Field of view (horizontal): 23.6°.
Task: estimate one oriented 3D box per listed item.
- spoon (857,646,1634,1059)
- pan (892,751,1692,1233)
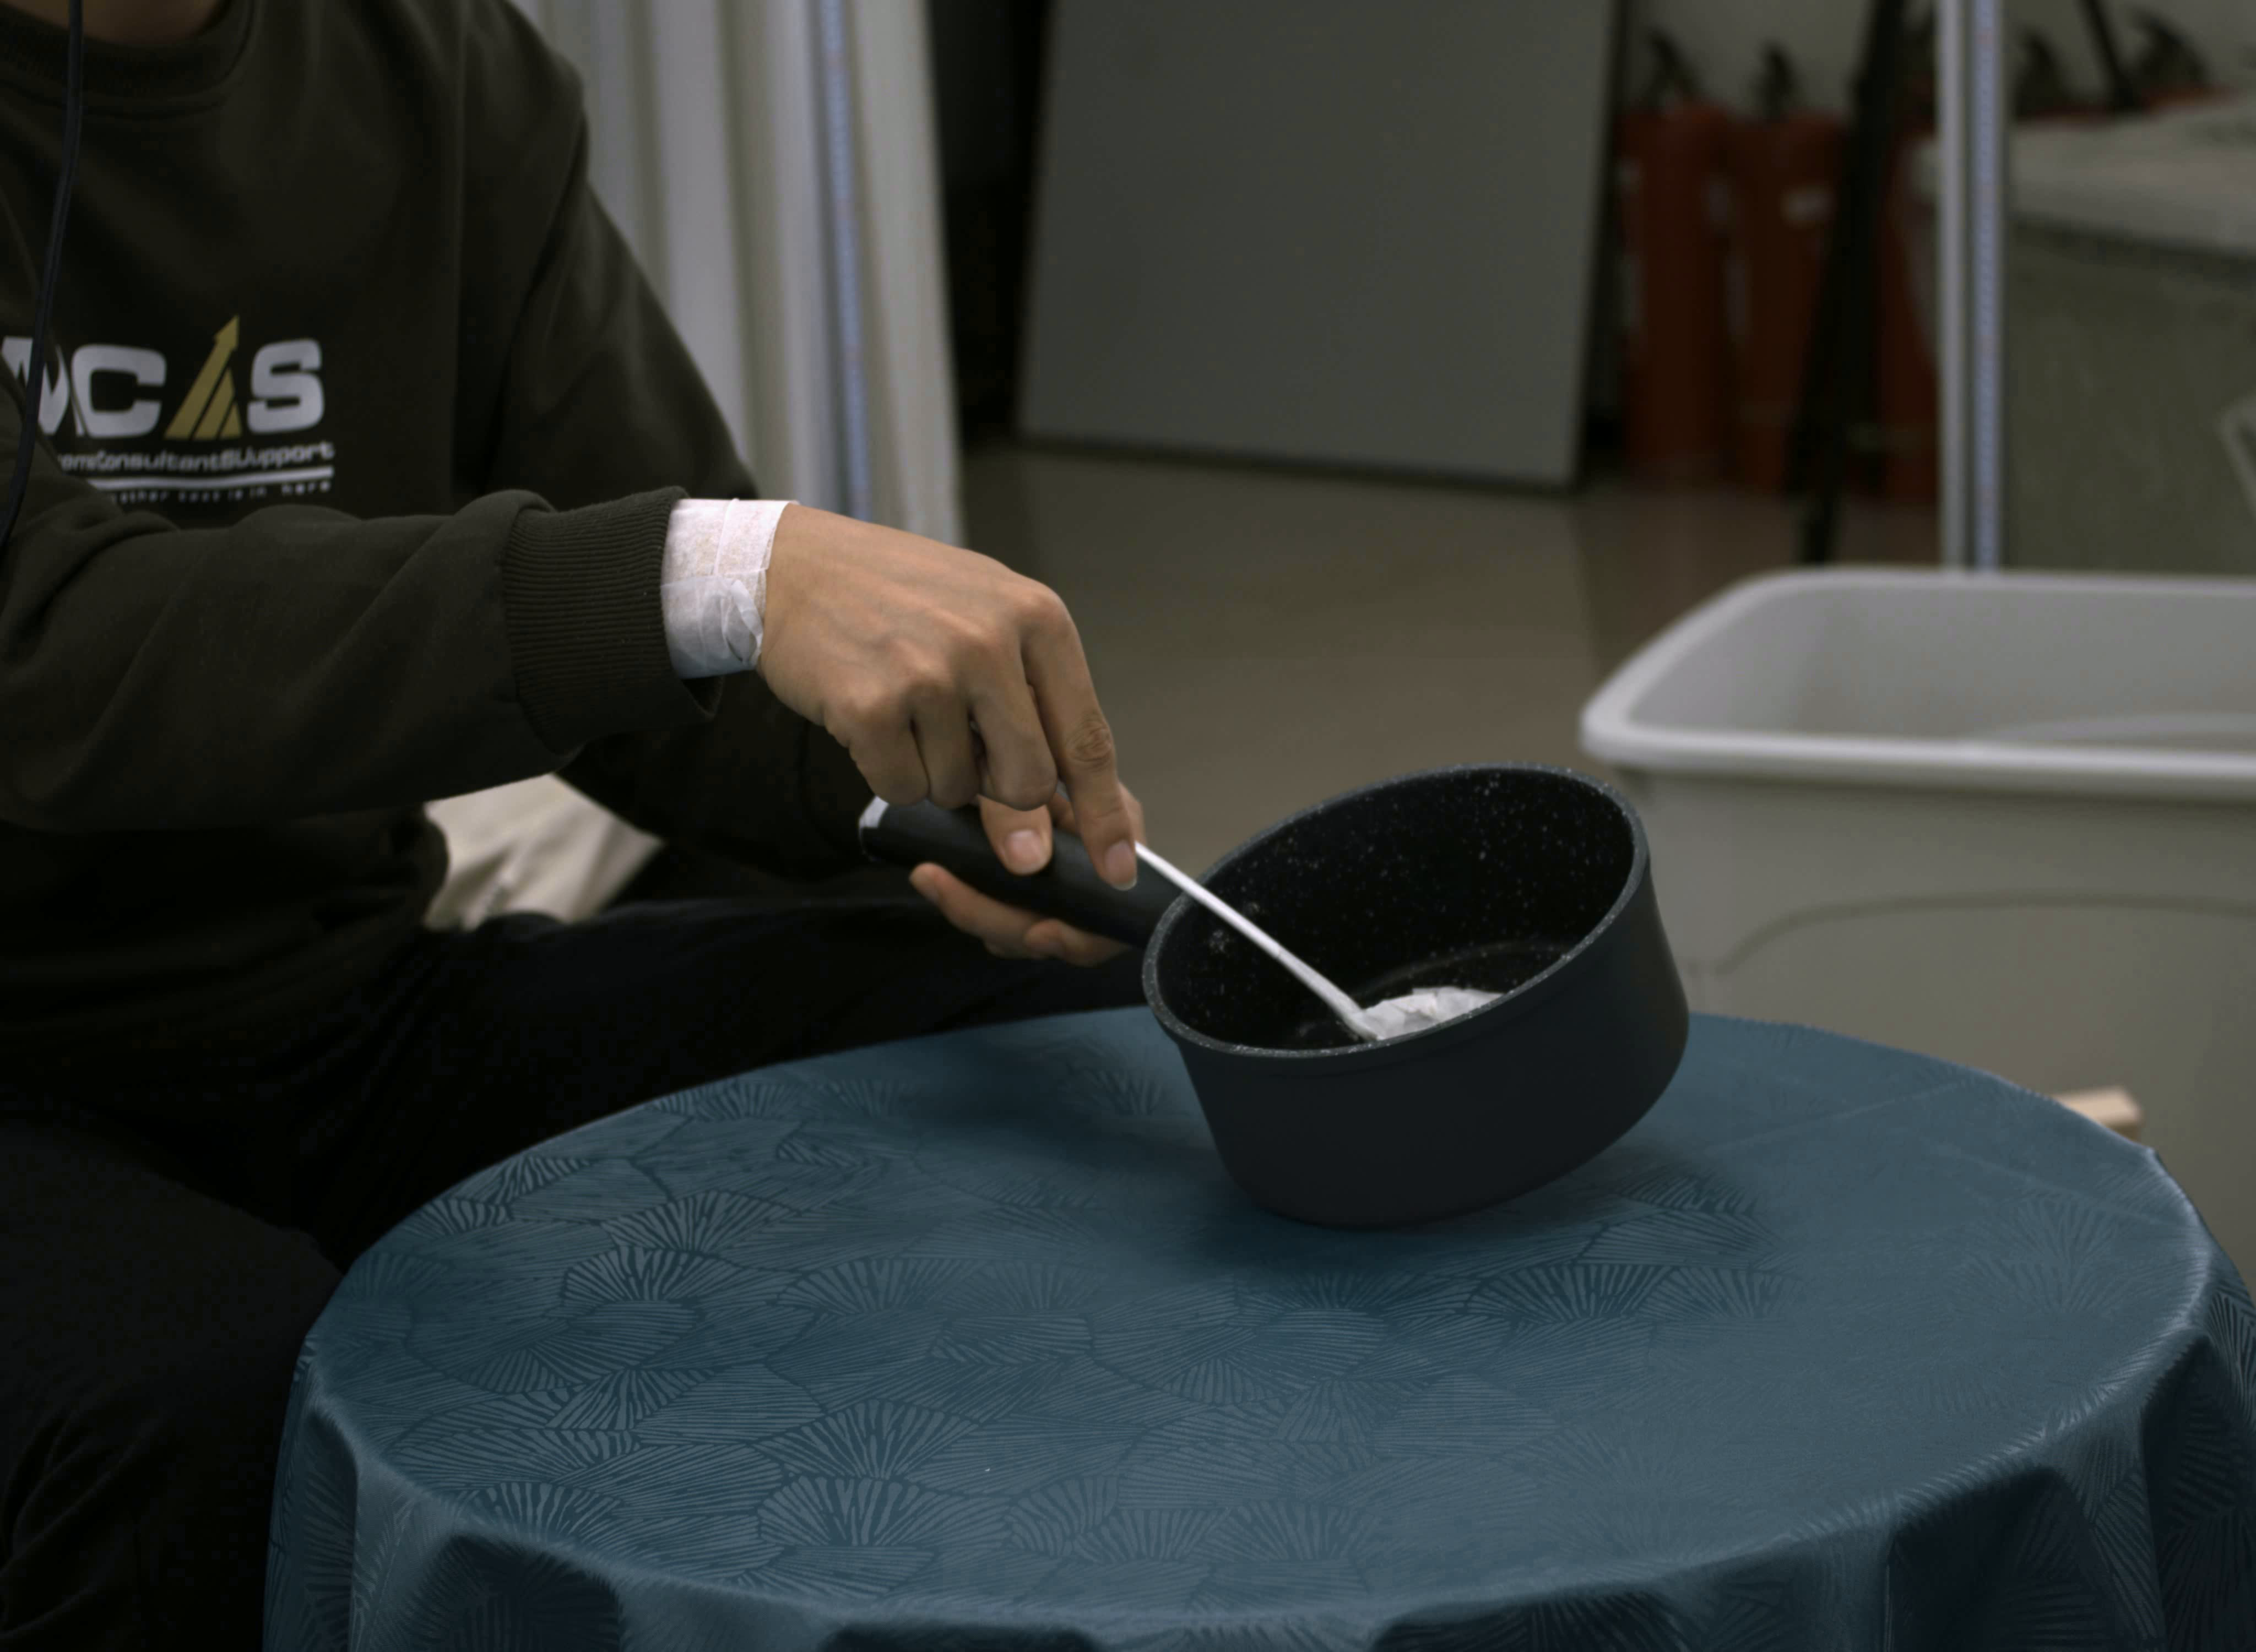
[{"bbox_3d":[0.039,0.006,1.739,0.276,0.060,0.100,37,5,0],"label":"spoon"},{"bbox_3d":[0.043,0.043,1.812,0.170,0.087,0.332,-38,31,-31],"label":"pan"}]
